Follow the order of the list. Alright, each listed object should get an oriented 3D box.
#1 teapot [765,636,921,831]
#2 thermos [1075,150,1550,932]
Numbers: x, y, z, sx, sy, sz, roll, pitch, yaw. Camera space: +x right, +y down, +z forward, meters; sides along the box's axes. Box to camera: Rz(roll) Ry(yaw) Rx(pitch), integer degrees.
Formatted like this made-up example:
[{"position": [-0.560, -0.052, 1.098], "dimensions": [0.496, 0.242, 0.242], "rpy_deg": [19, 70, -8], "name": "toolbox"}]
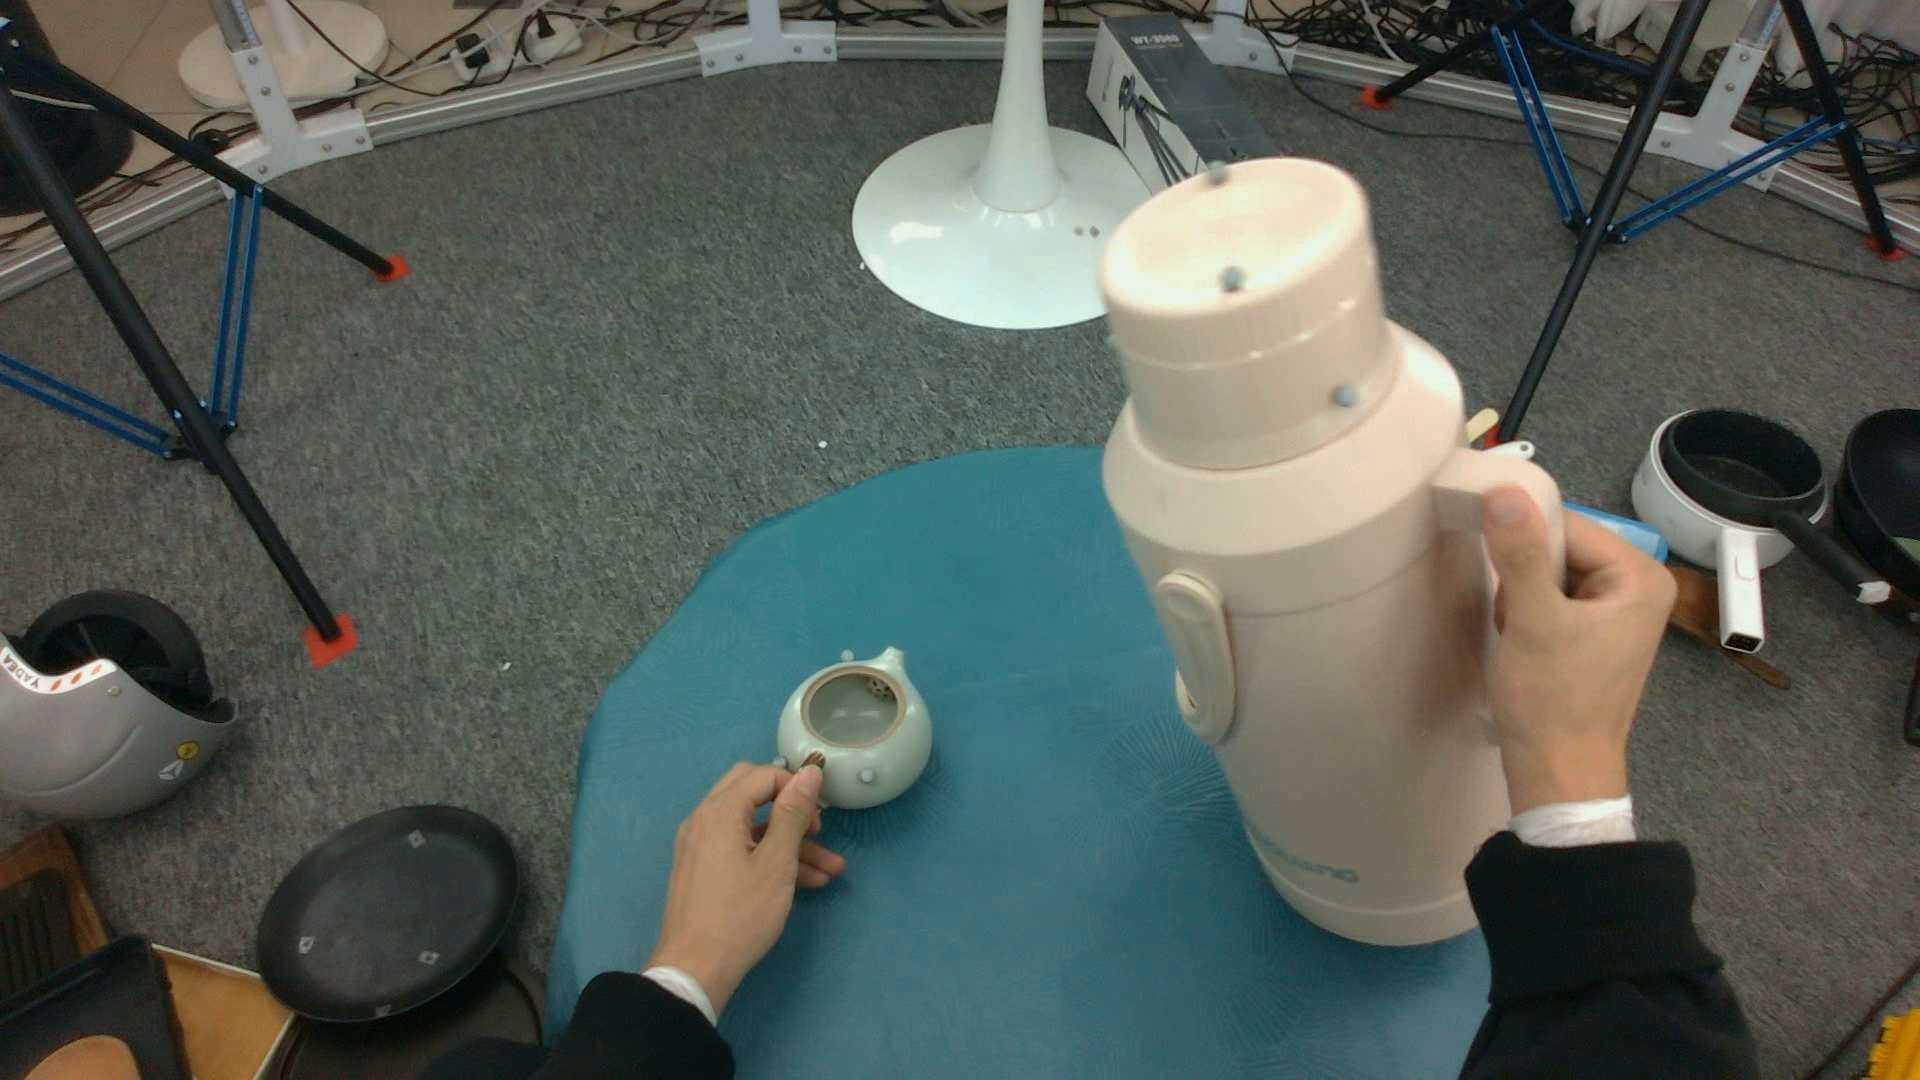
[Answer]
[{"position": [-0.073, 0.116, 0.807], "dimensions": [0.092, 0.059, 0.129], "rpy_deg": [21, 48, 15], "name": "teapot"}, {"position": [0.177, 0.019, 0.657], "dimensions": [0.206, 0.405, 0.176], "rpy_deg": [12, 51, 40], "name": "thermos"}]
